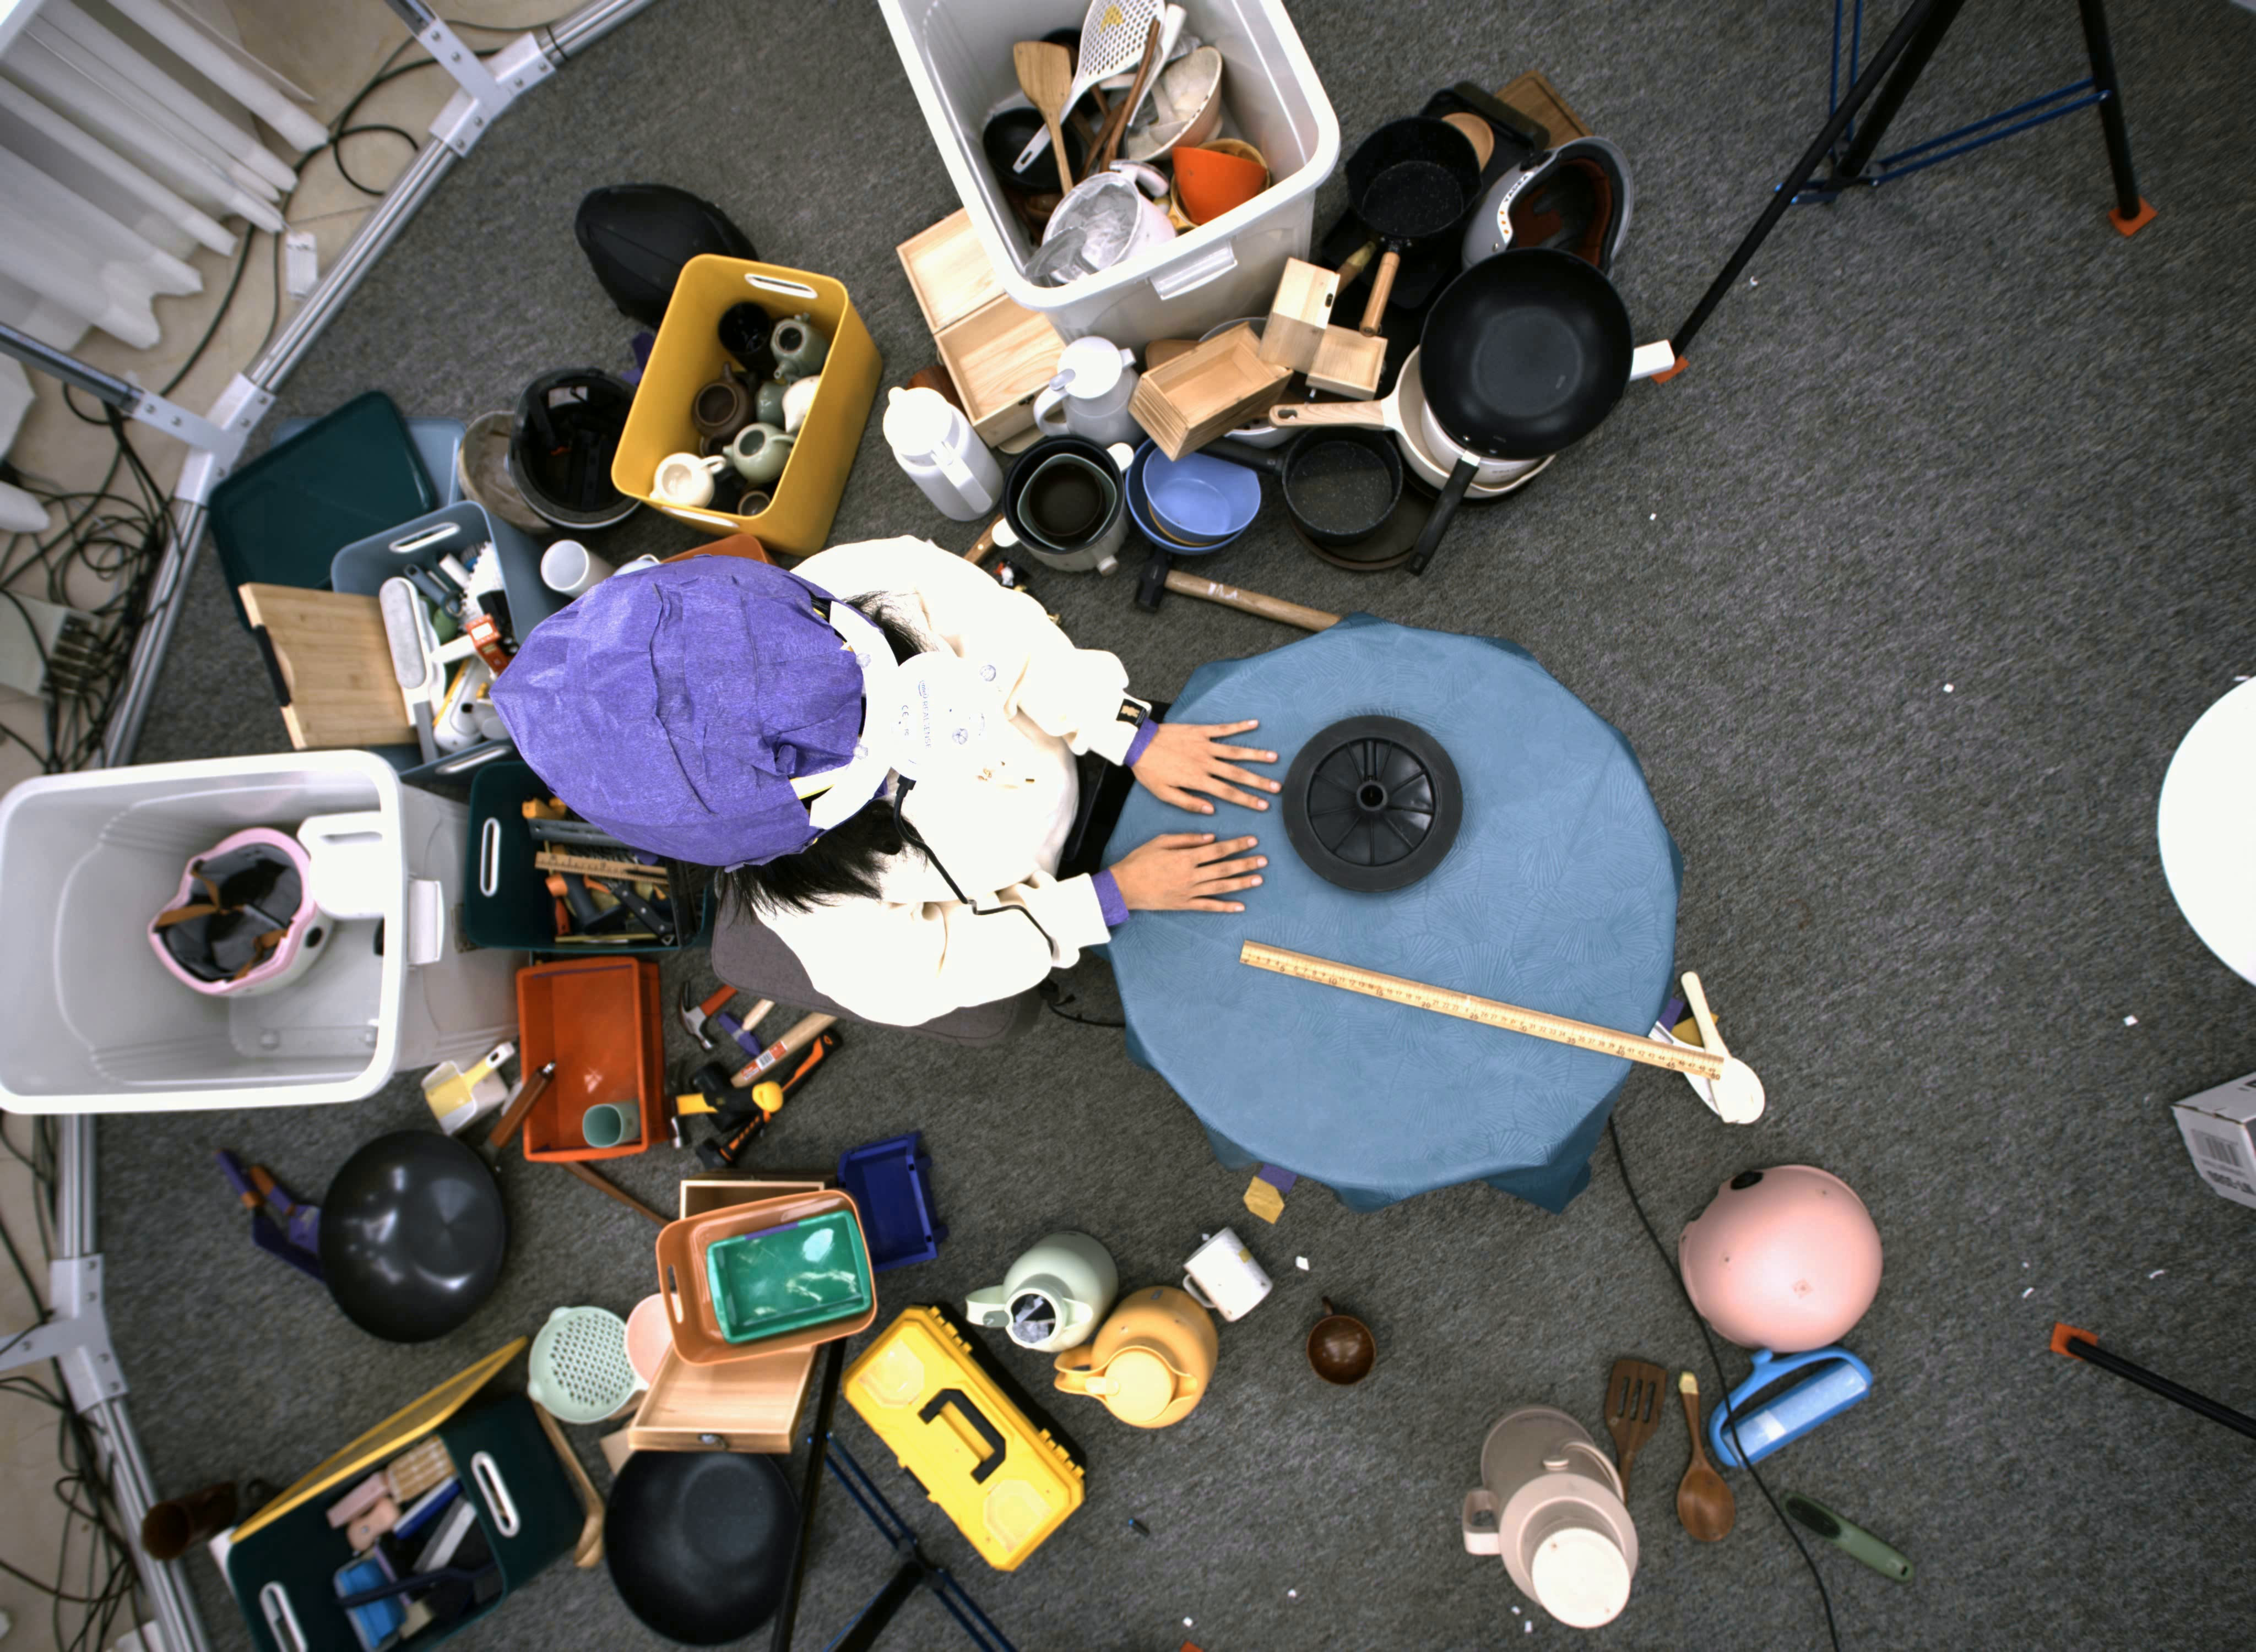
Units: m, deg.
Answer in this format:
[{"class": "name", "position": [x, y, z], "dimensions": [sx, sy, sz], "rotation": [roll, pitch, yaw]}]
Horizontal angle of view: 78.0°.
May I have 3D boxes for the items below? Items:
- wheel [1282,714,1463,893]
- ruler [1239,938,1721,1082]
[{"class": "wheel", "position": [0.252, -0.028, 1.430], "dimensions": [0.188, 0.079, 0.188], "rotation": [-24, 82, 8]}, {"class": "ruler", "position": [0.359, 0.187, 1.435], "dimensions": [0.501, 0.006, 0.027], "rotation": [13, 90, 11]}]
